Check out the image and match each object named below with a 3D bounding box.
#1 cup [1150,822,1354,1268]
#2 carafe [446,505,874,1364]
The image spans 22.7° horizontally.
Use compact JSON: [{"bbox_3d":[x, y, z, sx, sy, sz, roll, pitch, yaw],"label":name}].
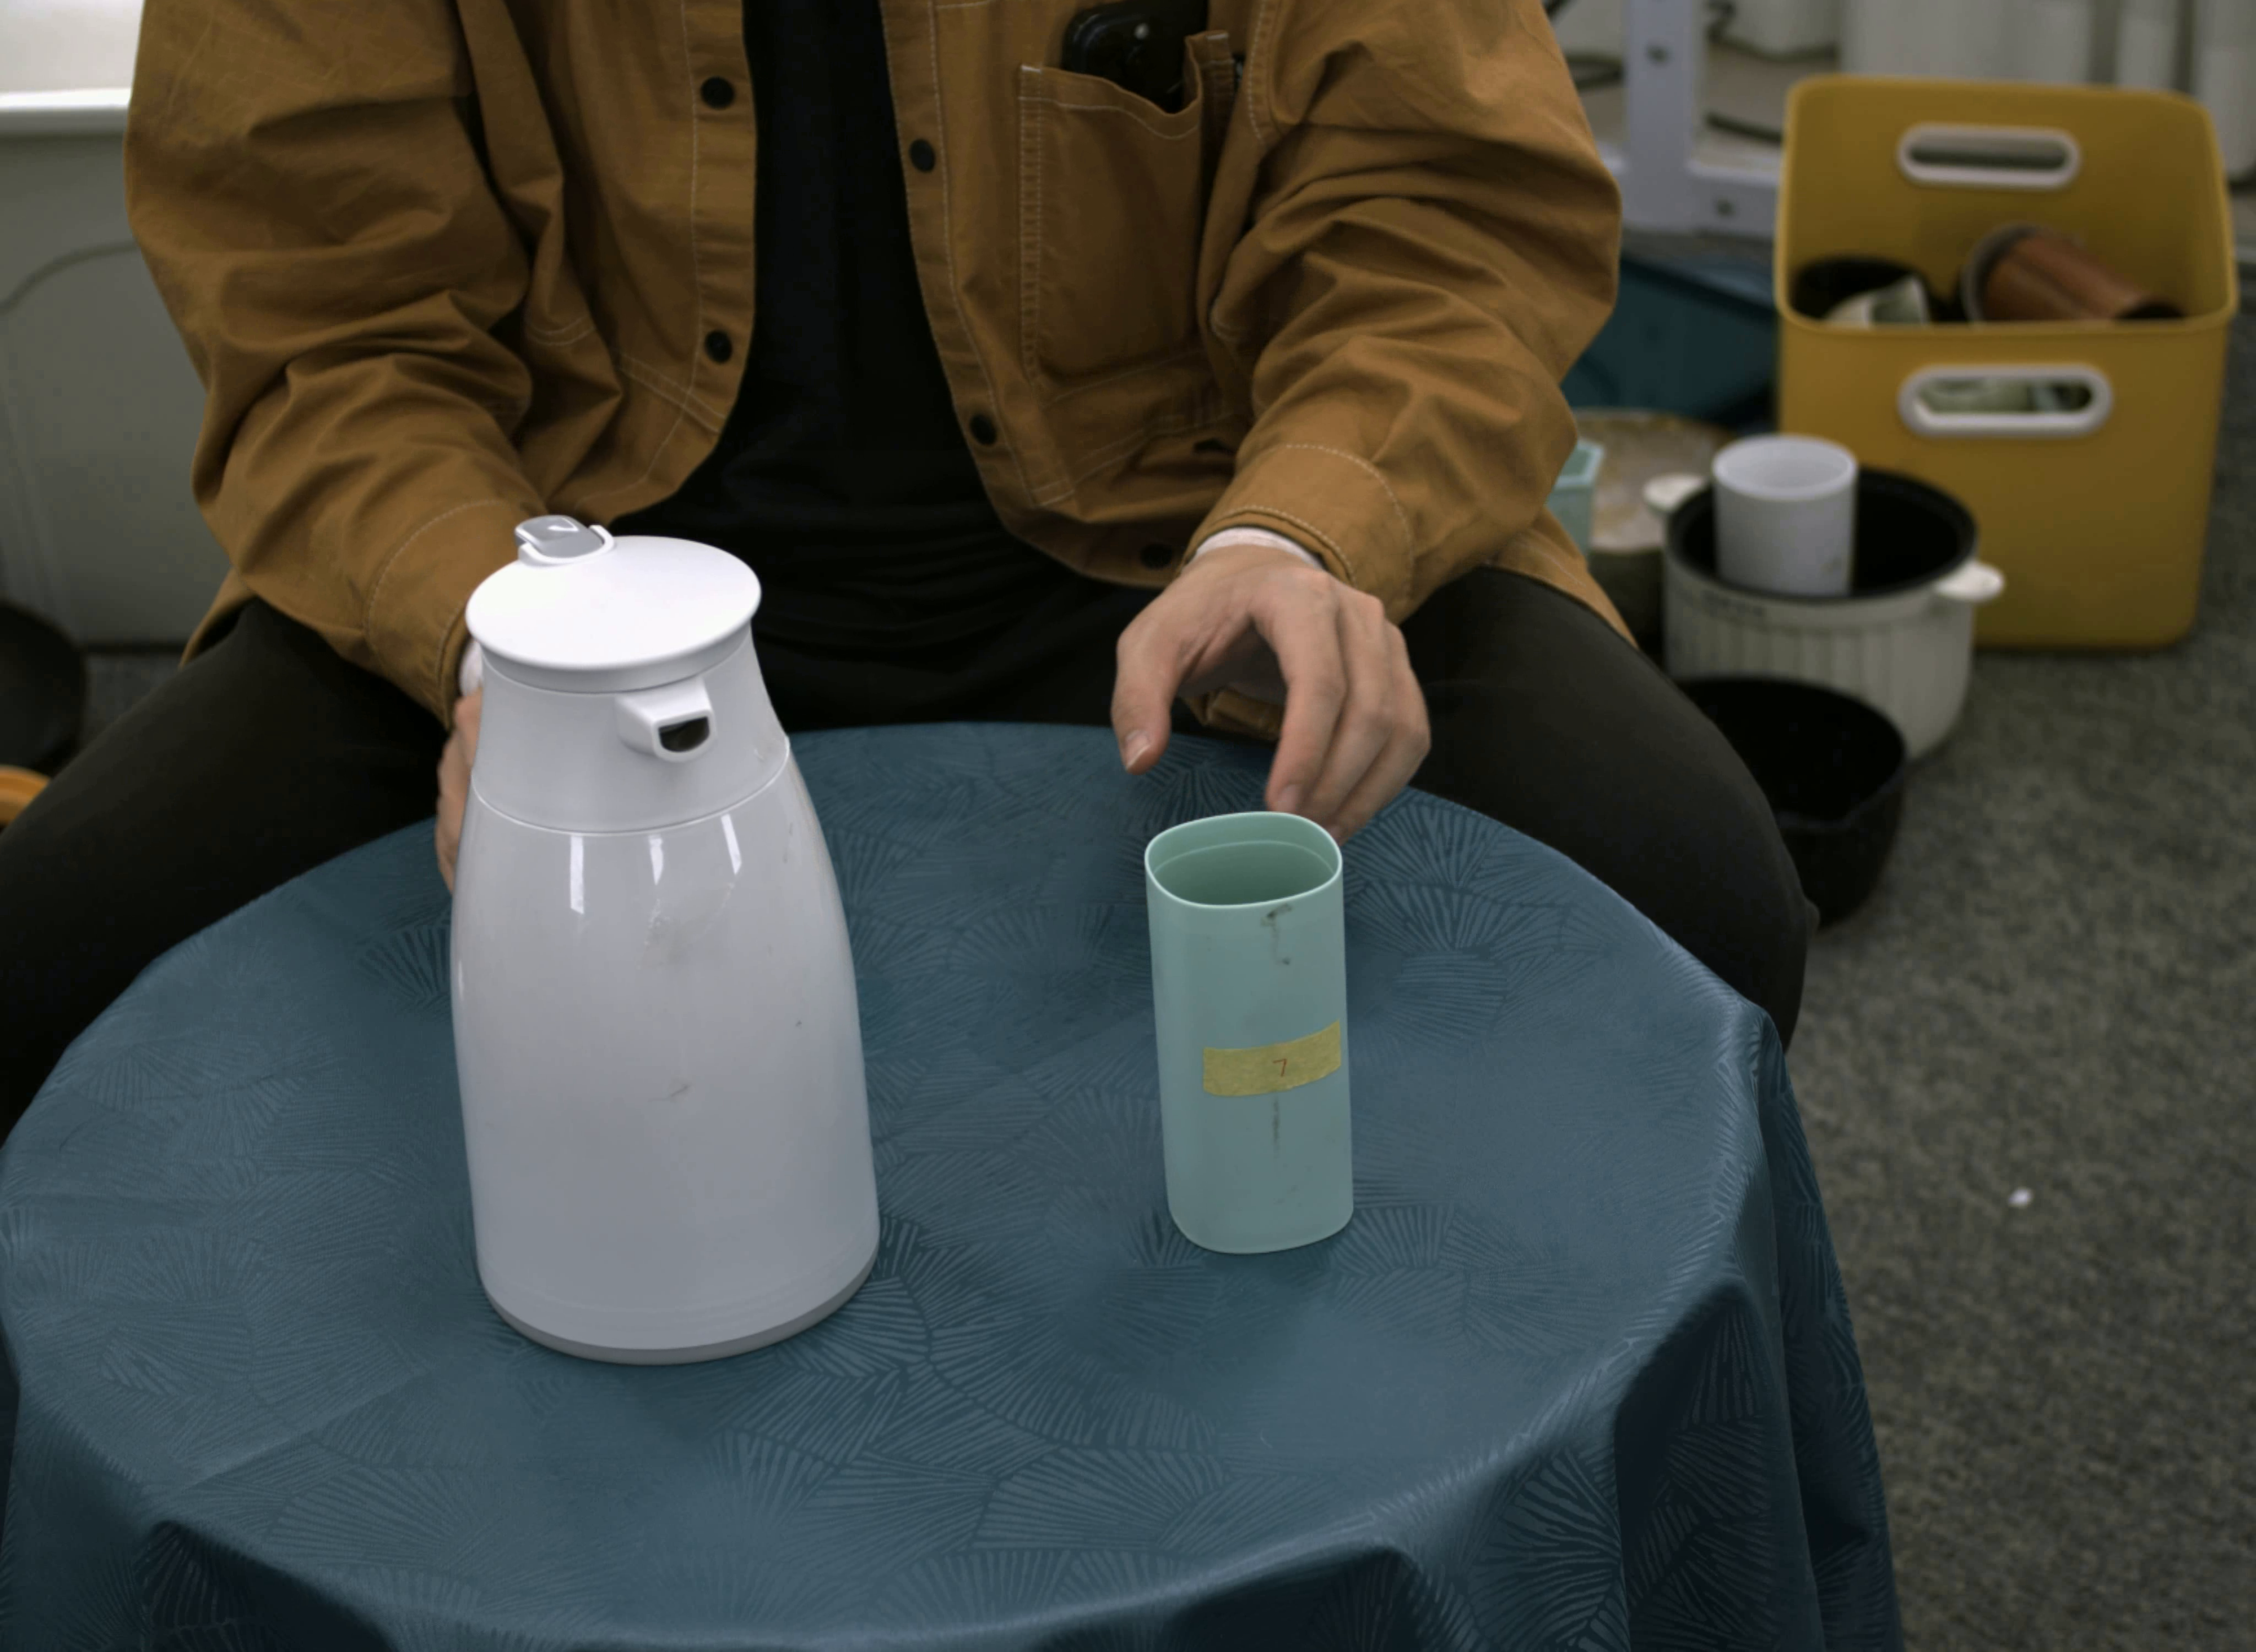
[{"bbox_3d":[0.041,0.070,1.821,0.066,0.131,0.068,-2,26,1],"label":"cup"},{"bbox_3d":[-0.163,0.024,1.797,0.133,0.246,0.168,-14,28,-21],"label":"carafe"}]
